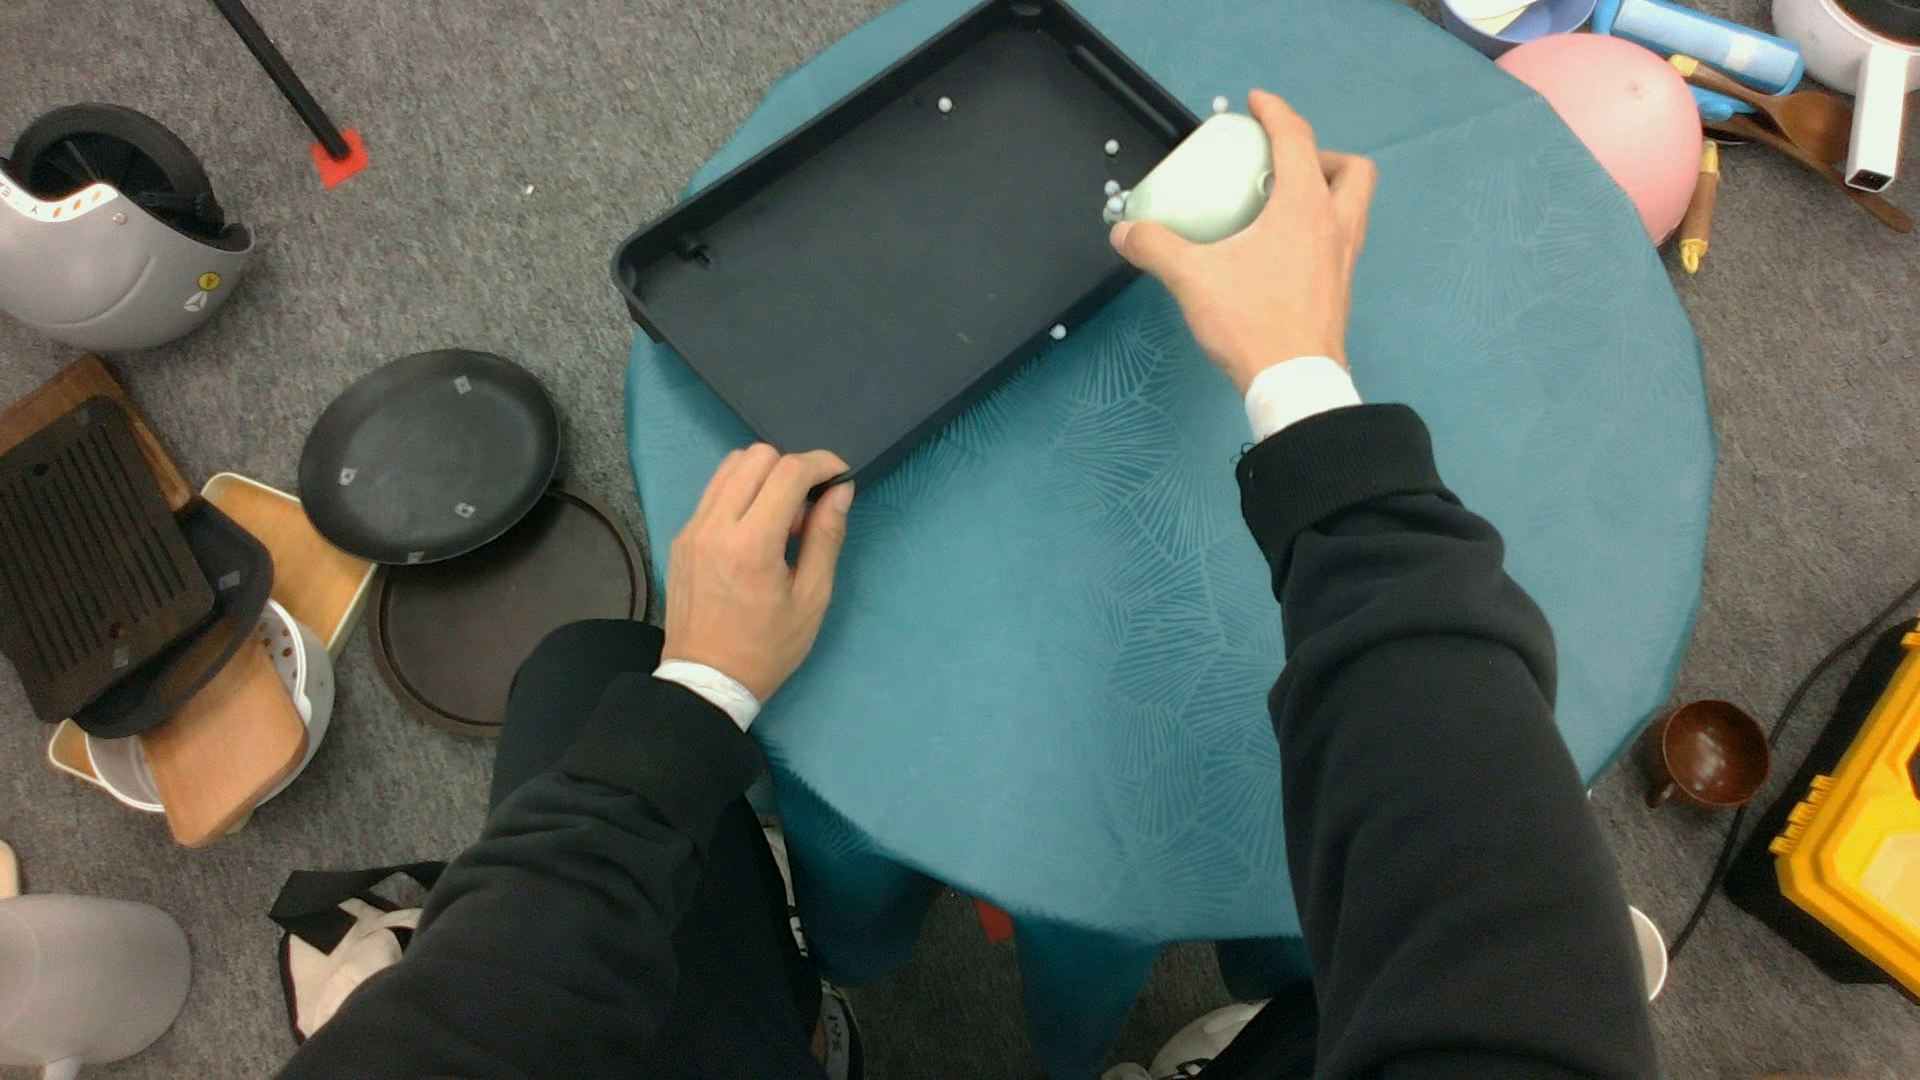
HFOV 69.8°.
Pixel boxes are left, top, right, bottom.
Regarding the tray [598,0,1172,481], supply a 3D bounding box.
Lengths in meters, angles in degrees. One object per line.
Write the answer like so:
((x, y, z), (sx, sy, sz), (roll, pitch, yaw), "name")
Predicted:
((-0.023, -0.186, 0.762), (0.184, 0.037, 0.319), (43, 69, 14), "tray")

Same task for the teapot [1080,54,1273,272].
((0.110, -0.176, 0.681), (0.075, 0.143, 0.088), (46, 70, -3), "teapot")
